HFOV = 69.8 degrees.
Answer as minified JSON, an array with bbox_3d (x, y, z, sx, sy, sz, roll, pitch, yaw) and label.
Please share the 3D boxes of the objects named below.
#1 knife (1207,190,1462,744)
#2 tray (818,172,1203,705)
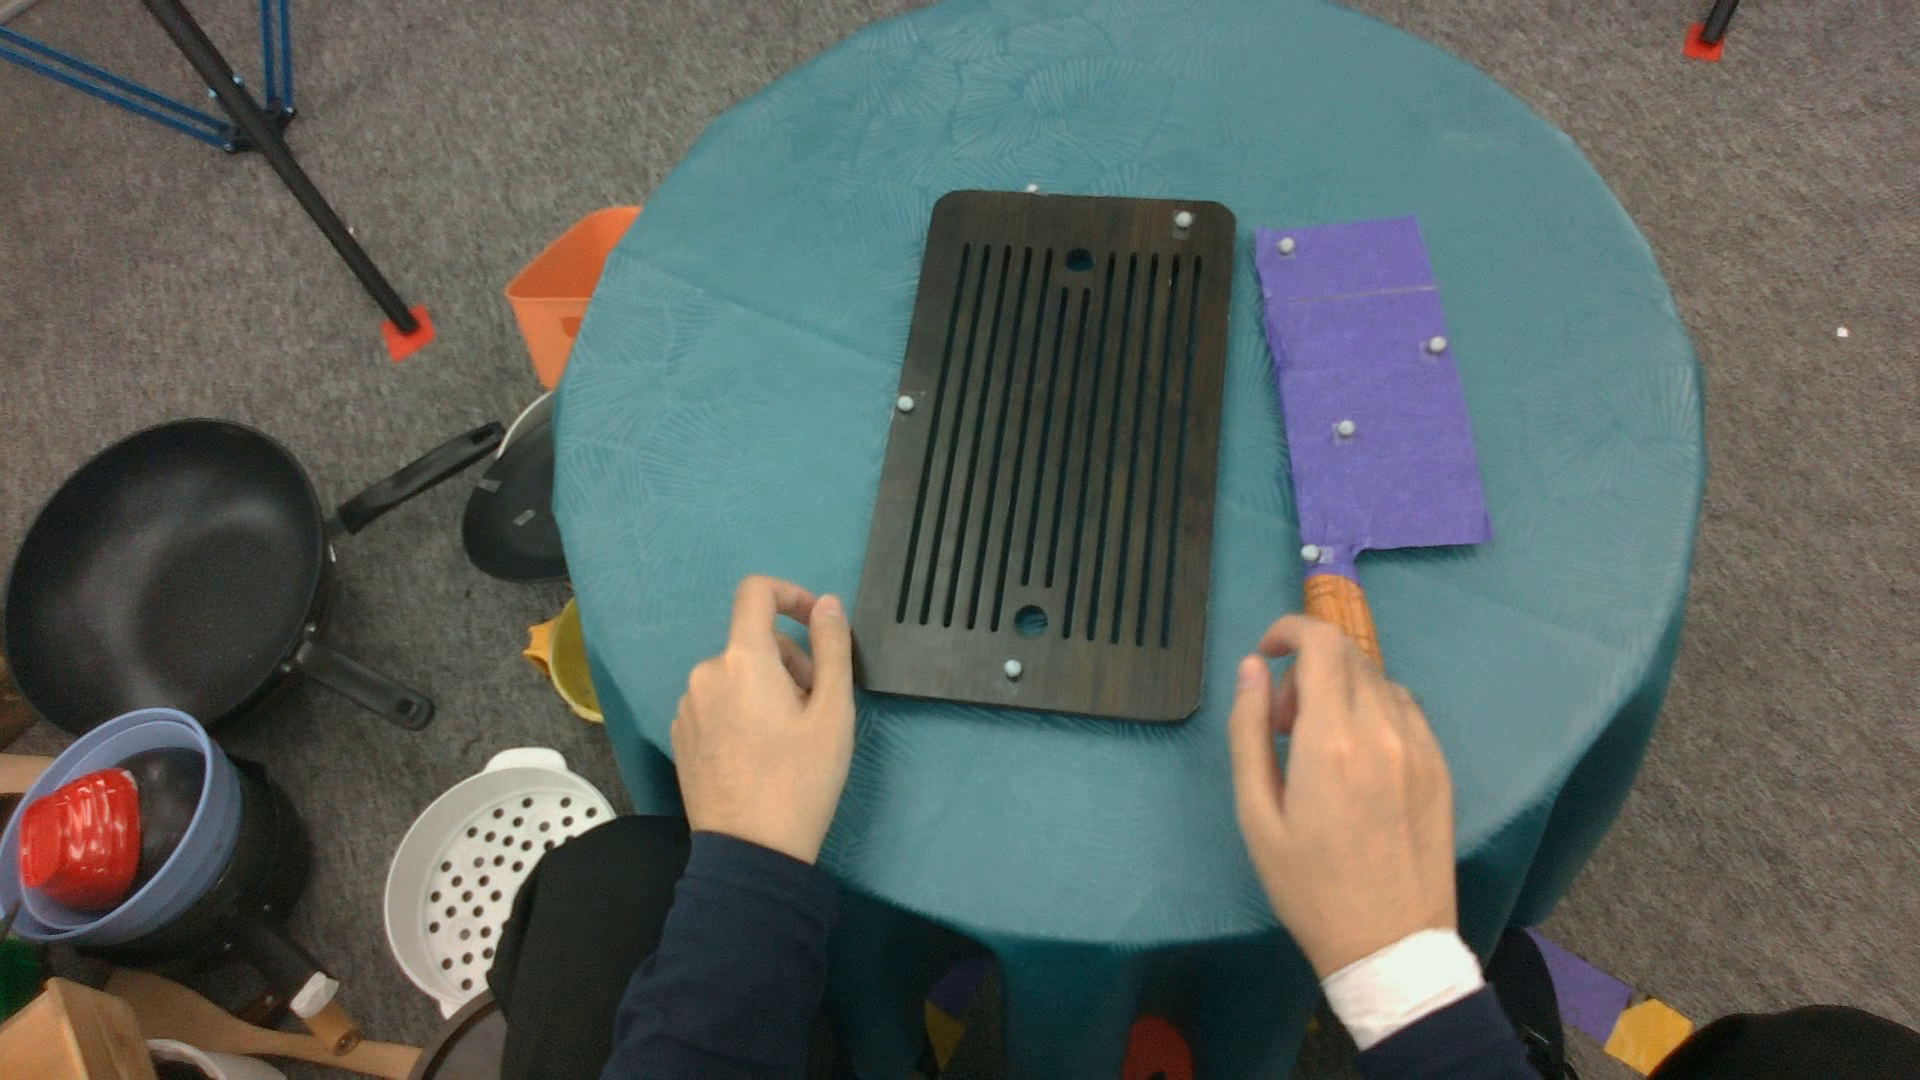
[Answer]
[{"bbox_3d":[0.196,-0.054,0.688,0.104,0.032,0.316,-5,63,3],"label":"knife"},{"bbox_3d":[0.033,-0.064,0.711,0.170,0.018,0.307,4,64,7],"label":"tray"}]
